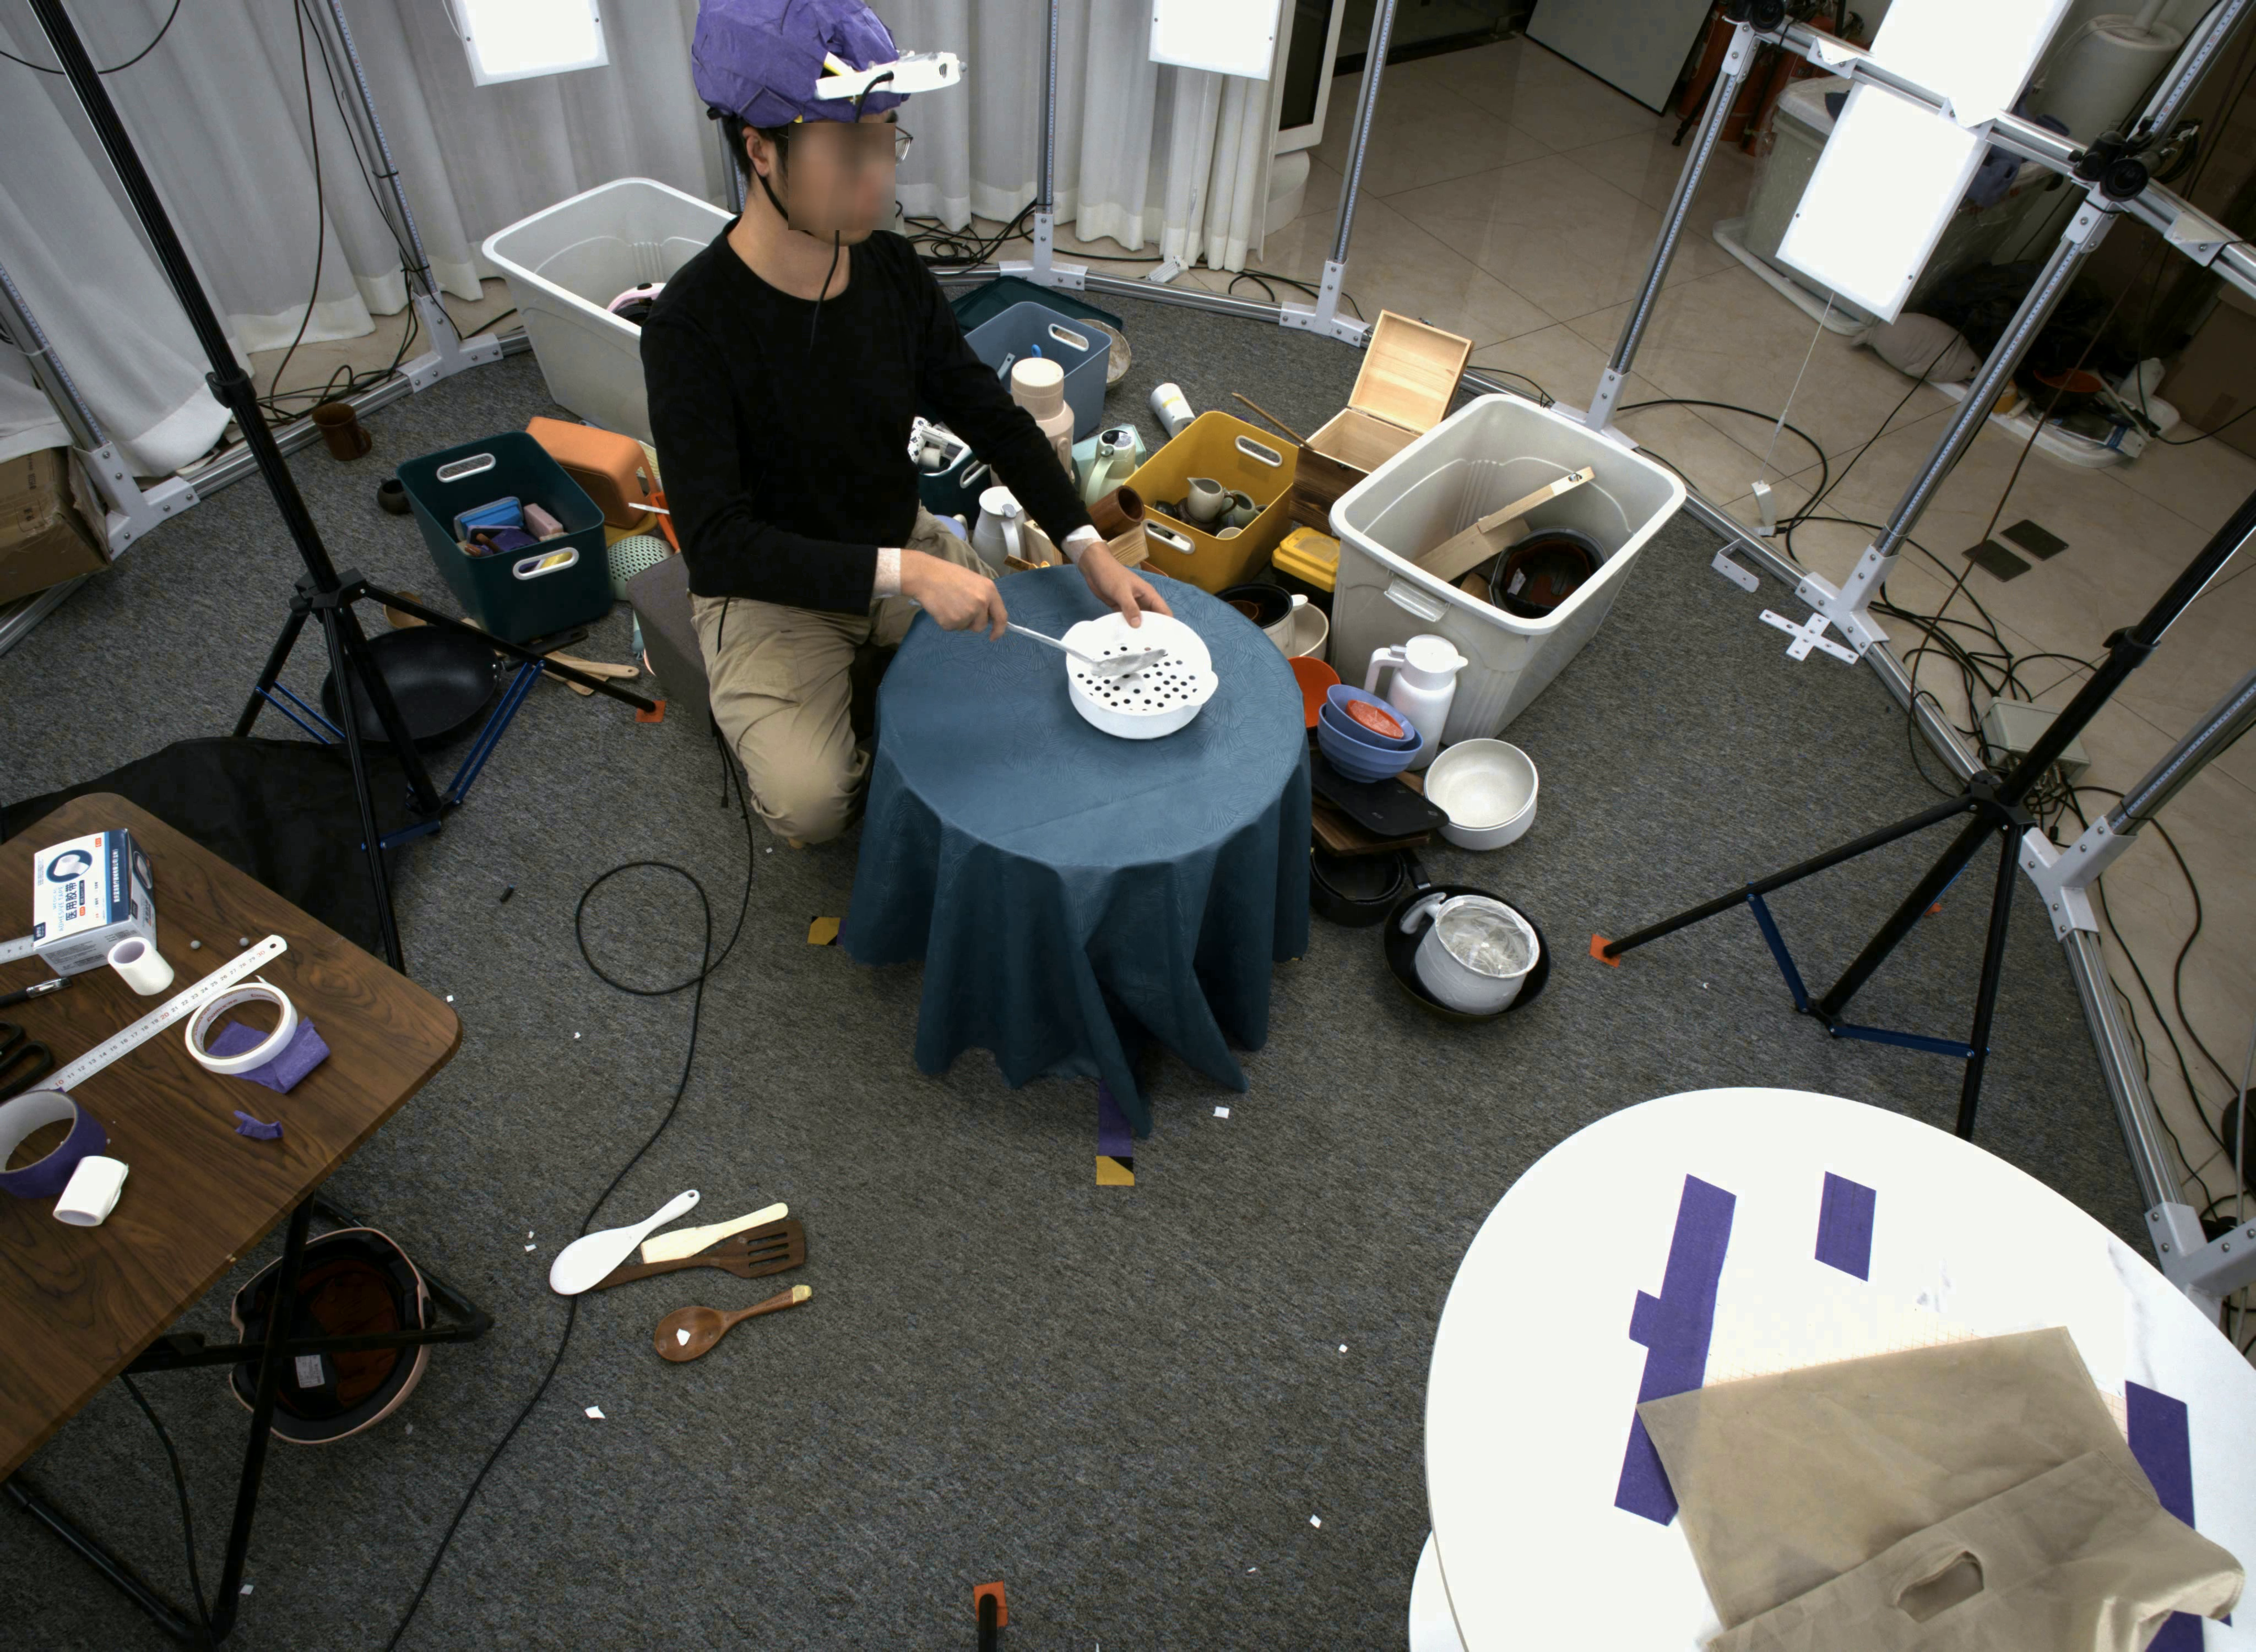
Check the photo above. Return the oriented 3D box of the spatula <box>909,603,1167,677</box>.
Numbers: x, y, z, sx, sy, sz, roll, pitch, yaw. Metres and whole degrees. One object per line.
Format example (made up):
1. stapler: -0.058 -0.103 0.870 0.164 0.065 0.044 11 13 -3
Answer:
1. spatula: -0.117 -0.257 1.734 0.361 0.098 0.045 16 69 -25

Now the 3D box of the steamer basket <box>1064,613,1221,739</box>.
1. steamer basket: 0.018 -0.210 1.806 0.232 0.067 0.205 25 53 18
